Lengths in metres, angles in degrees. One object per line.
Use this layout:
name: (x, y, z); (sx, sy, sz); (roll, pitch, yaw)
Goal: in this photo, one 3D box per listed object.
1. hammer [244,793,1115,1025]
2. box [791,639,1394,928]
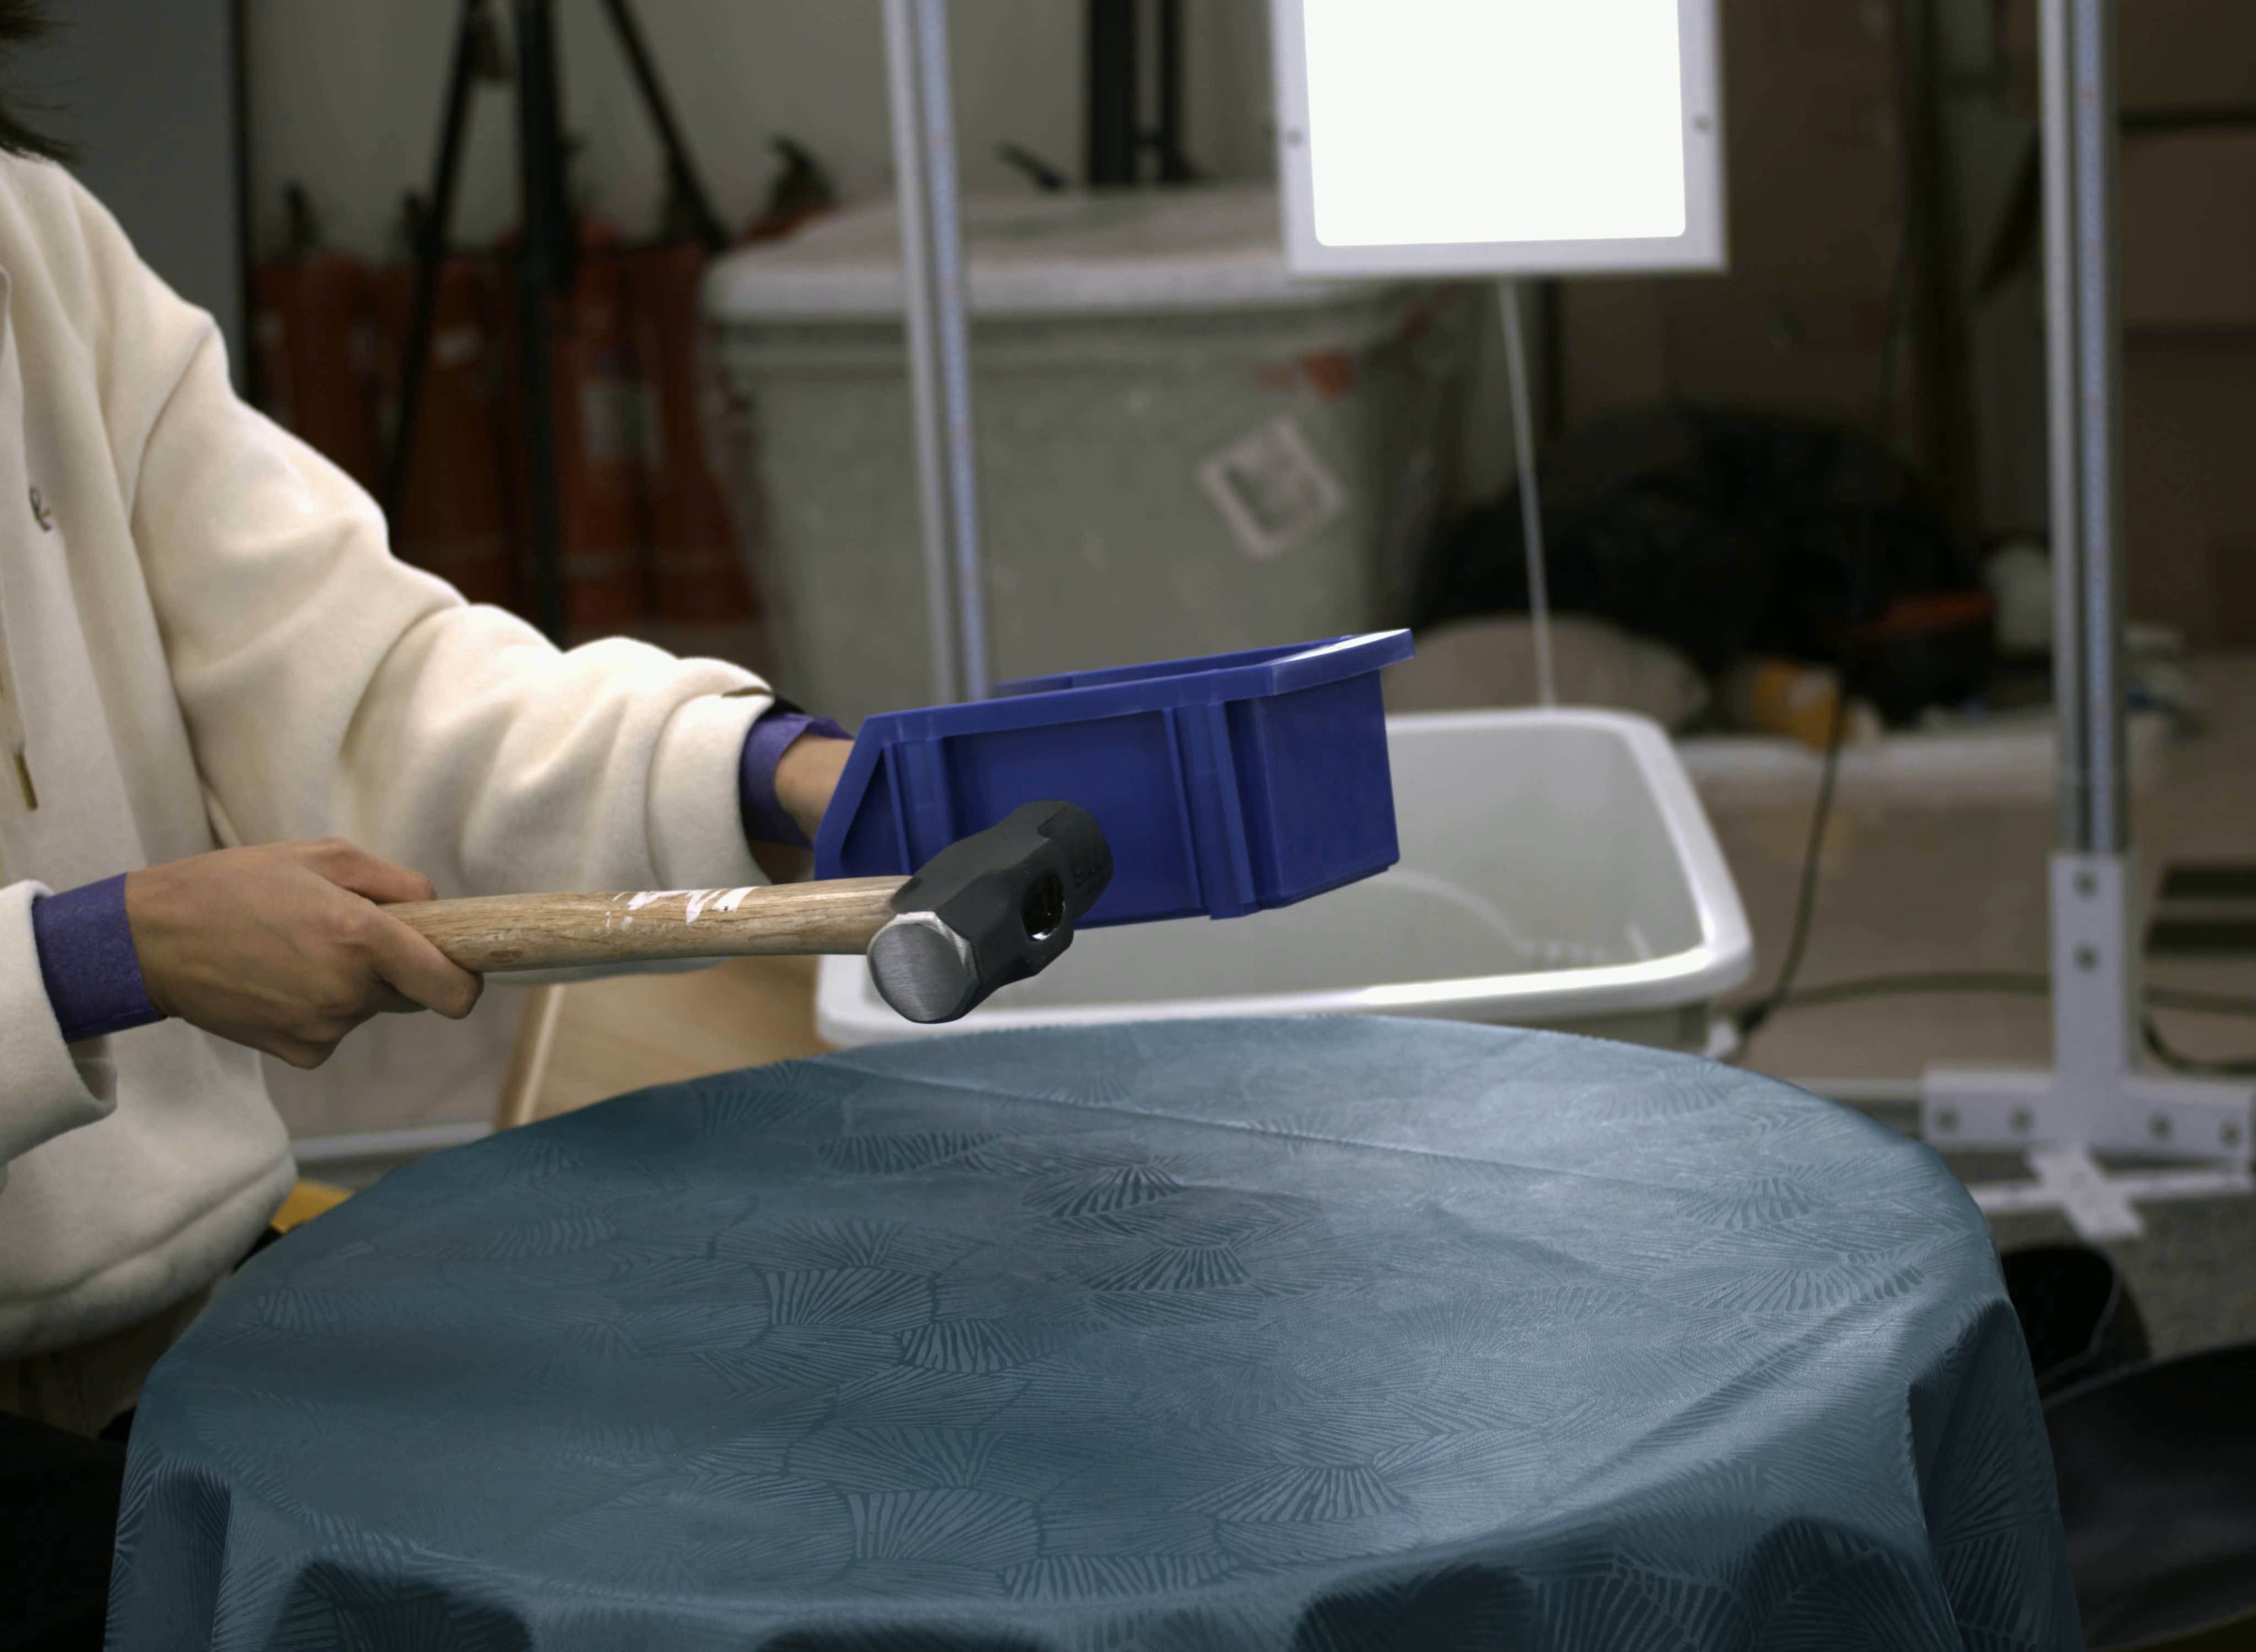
hammer: (-0.159, 0.030, 1.789); (0.311, 0.038, 0.105); (-3, 21, 32)
box: (-0.012, -0.011, 1.853); (0.182, 0.082, 0.122); (-4, 6, 28)
